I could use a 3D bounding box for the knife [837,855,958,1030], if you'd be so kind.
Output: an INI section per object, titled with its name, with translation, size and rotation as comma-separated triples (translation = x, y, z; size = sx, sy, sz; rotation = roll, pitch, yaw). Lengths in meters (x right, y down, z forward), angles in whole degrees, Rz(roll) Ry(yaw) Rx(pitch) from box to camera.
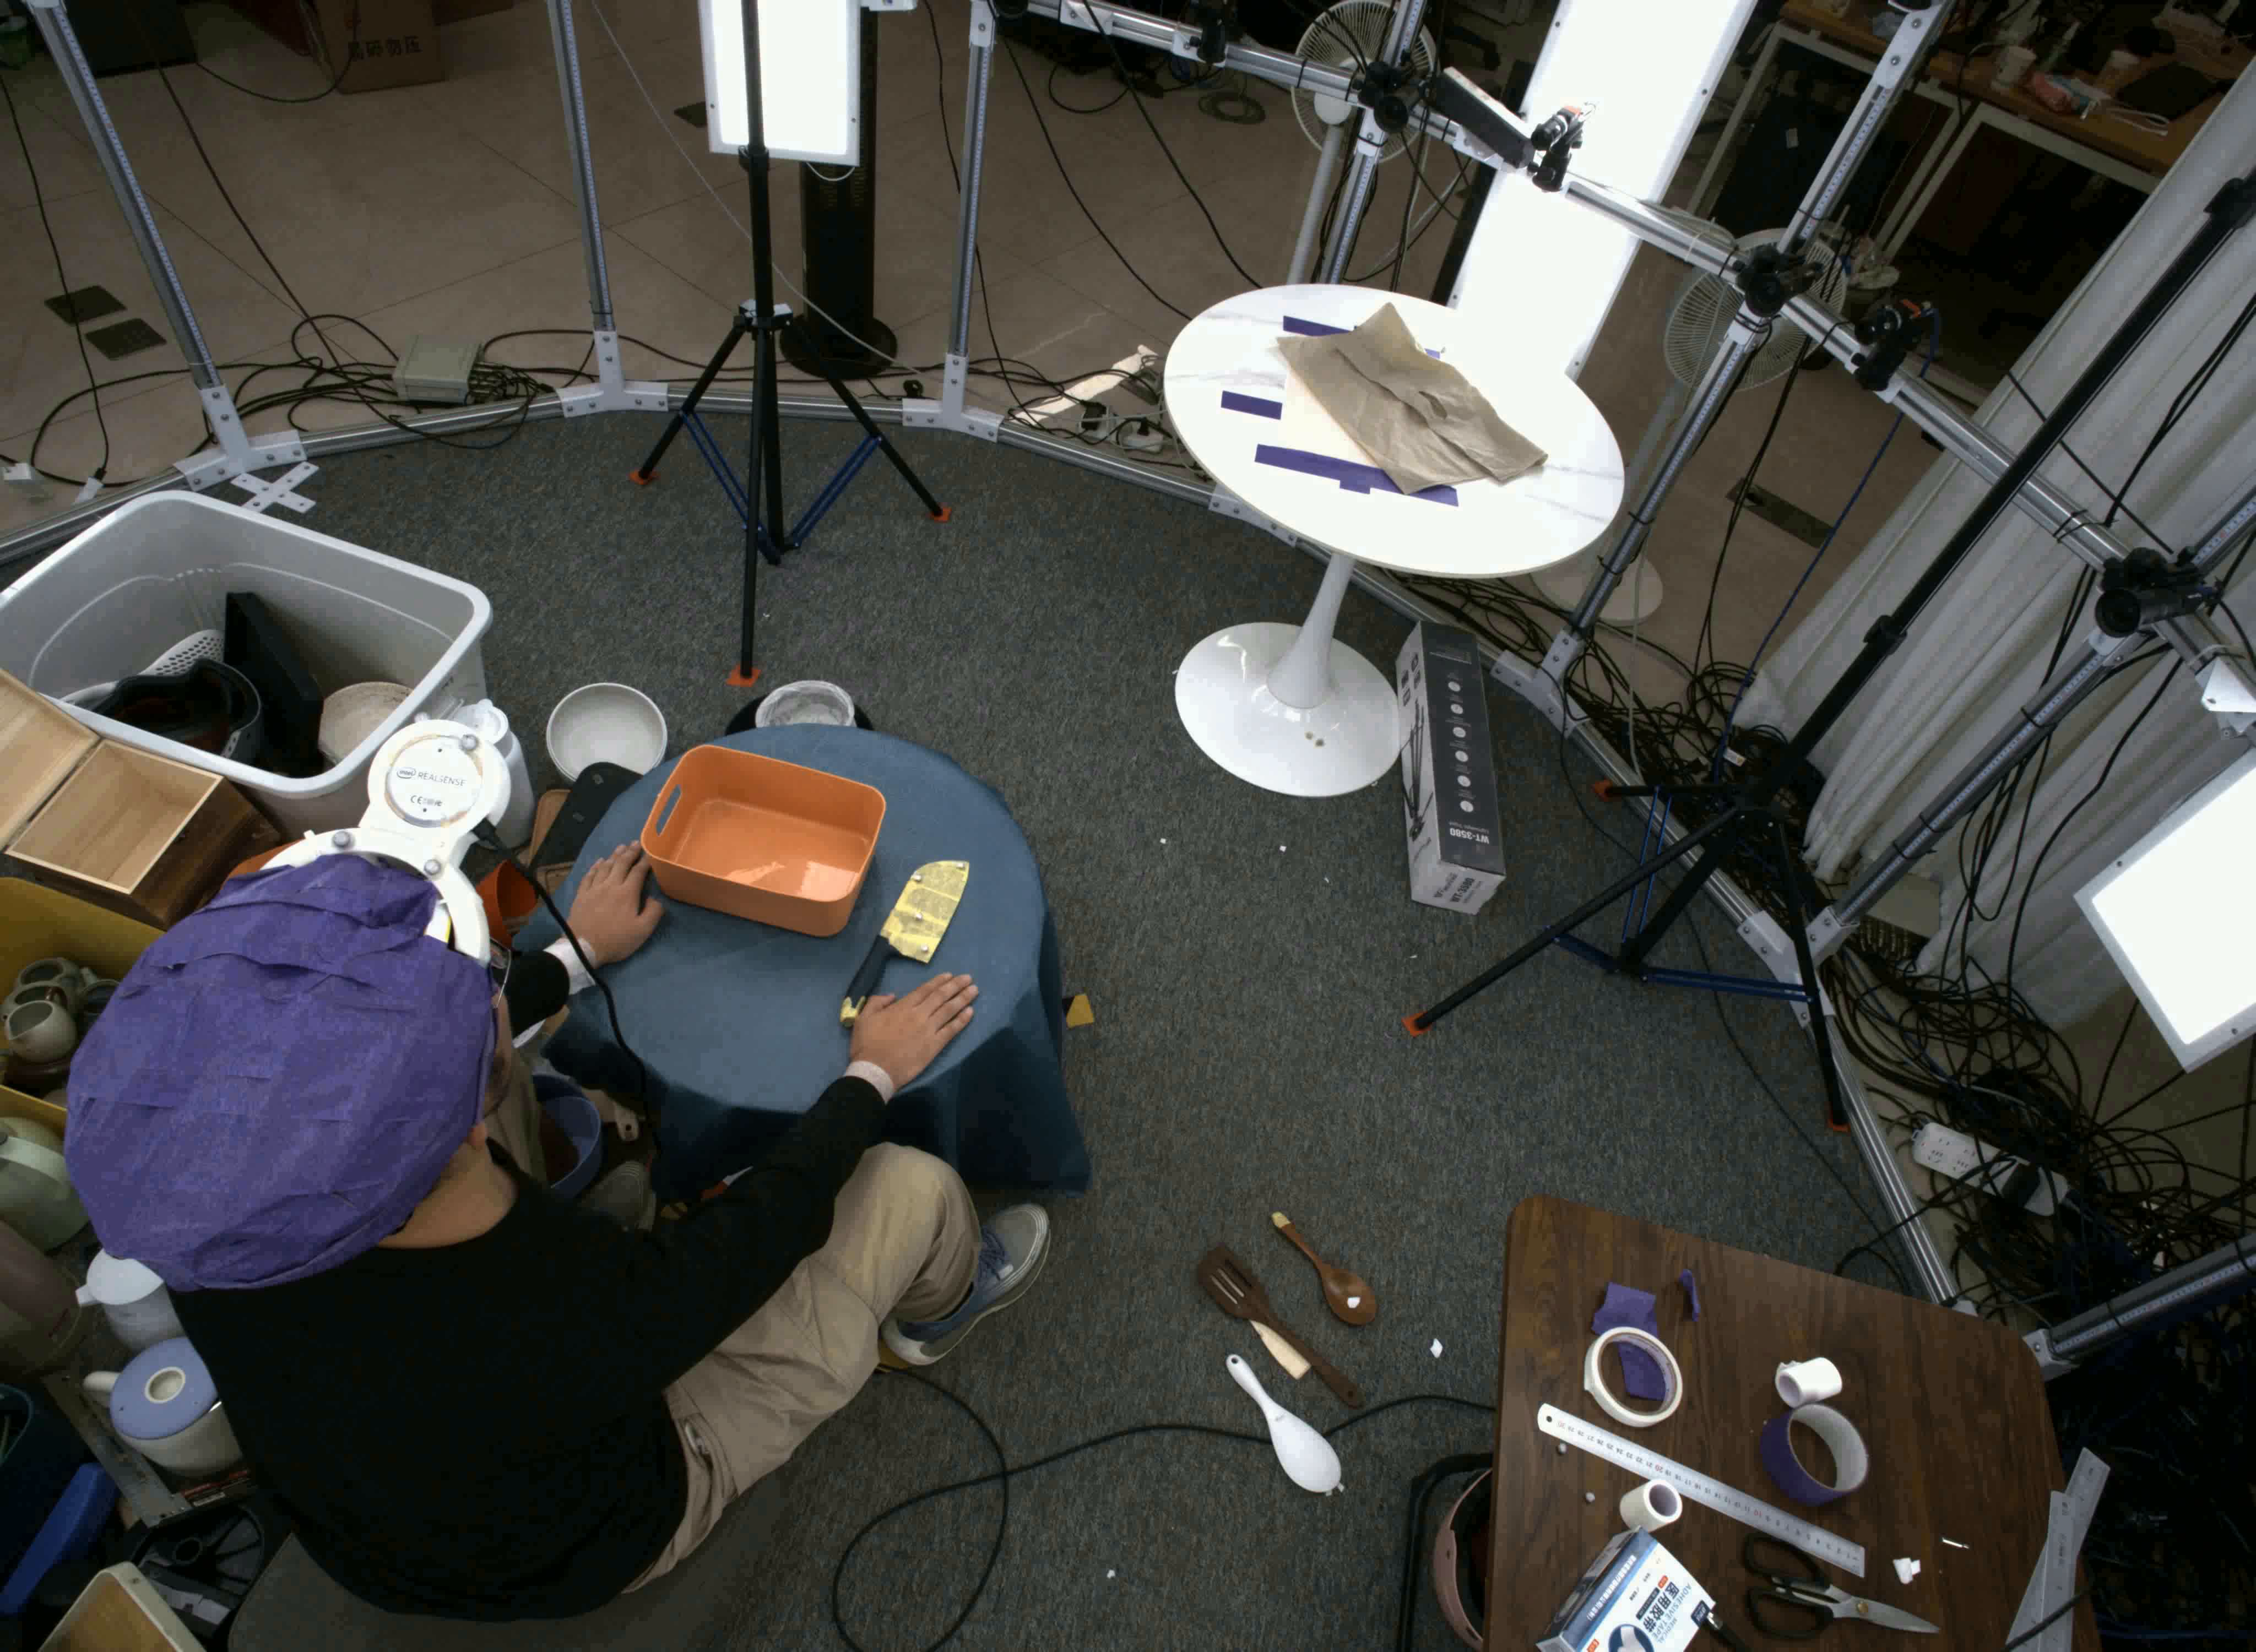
[knife]
translation = -0.287, 0.140, 1.642
size = 0.080, 0.028, 0.287
rotation = 21, 51, 5

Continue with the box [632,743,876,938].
[box]
translation = -0.465, 0.023, 1.624
size = 0.272, 0.104, 0.196
rotation = 14, 50, -4
